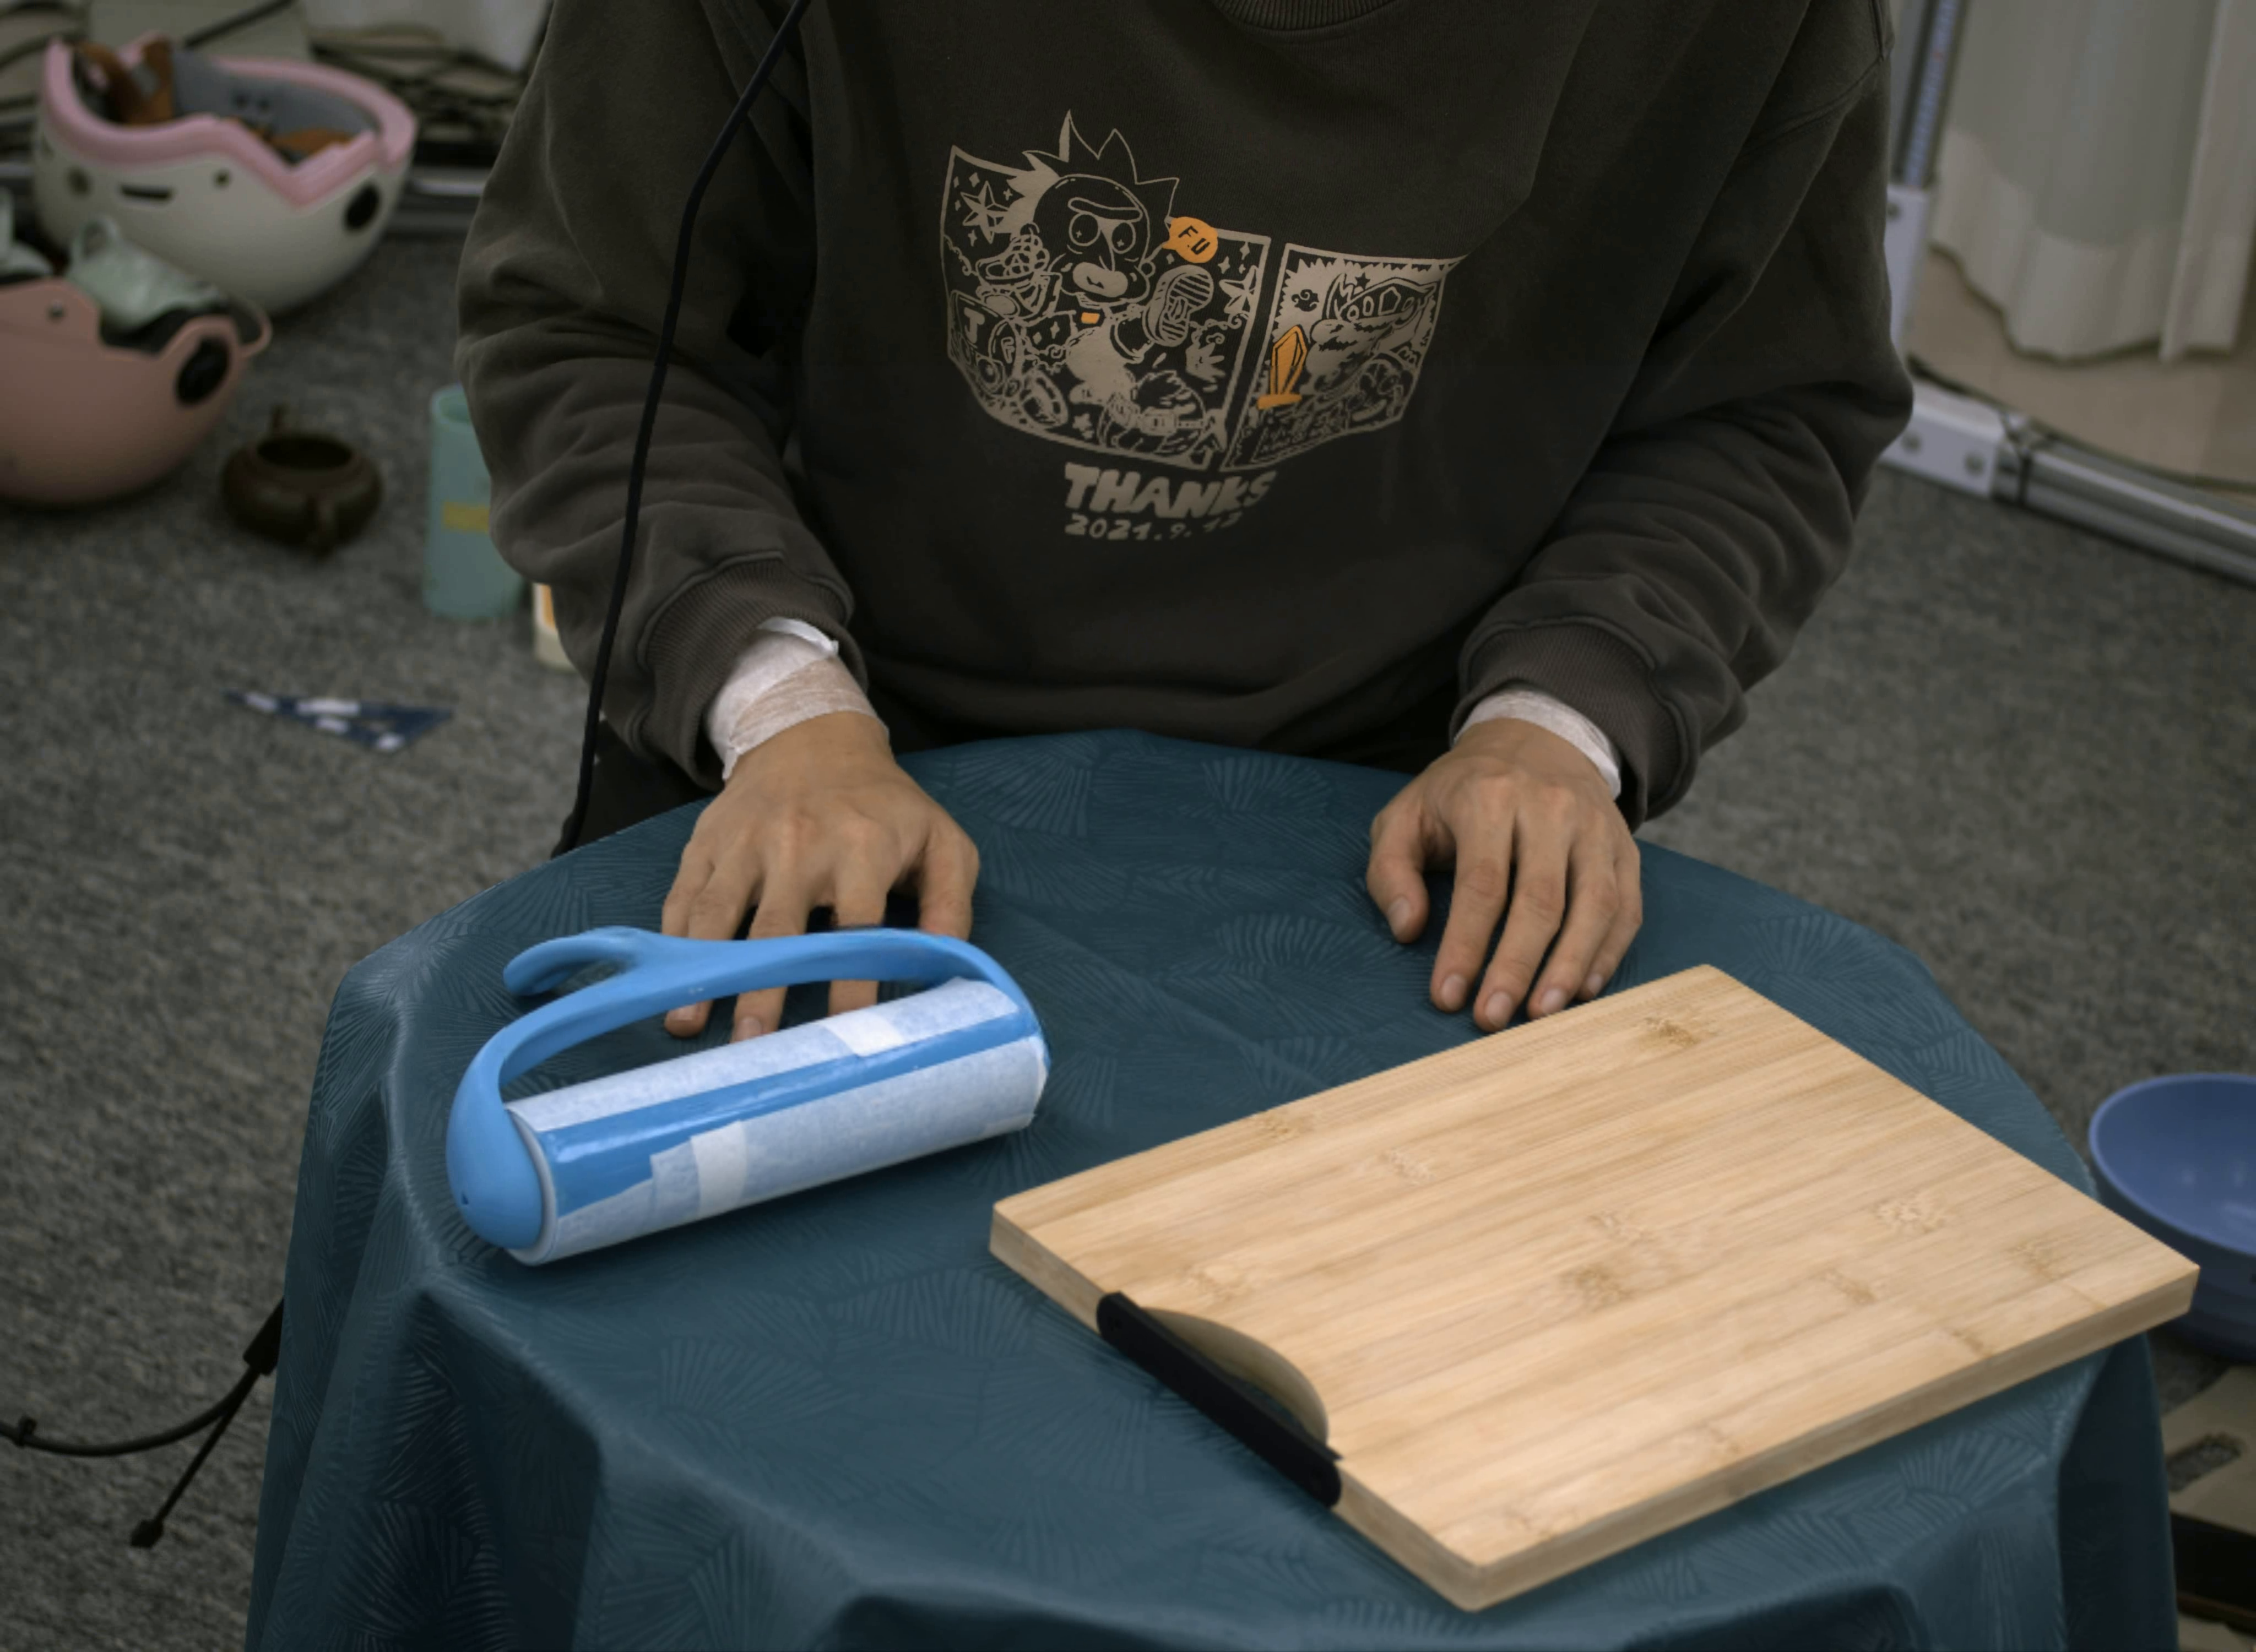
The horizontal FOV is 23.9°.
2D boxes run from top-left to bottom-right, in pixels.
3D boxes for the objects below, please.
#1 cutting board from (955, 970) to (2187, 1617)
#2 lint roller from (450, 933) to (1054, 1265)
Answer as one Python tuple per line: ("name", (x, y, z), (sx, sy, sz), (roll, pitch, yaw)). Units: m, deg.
("cutting board", (0.152, 0.147, 1.775), (0.346, 0.023, 0.253), (-16, 34, -38))
("lint roller", (-0.158, 0.071, 1.809), (0.227, 0.068, 0.182), (-16, 35, -35))
